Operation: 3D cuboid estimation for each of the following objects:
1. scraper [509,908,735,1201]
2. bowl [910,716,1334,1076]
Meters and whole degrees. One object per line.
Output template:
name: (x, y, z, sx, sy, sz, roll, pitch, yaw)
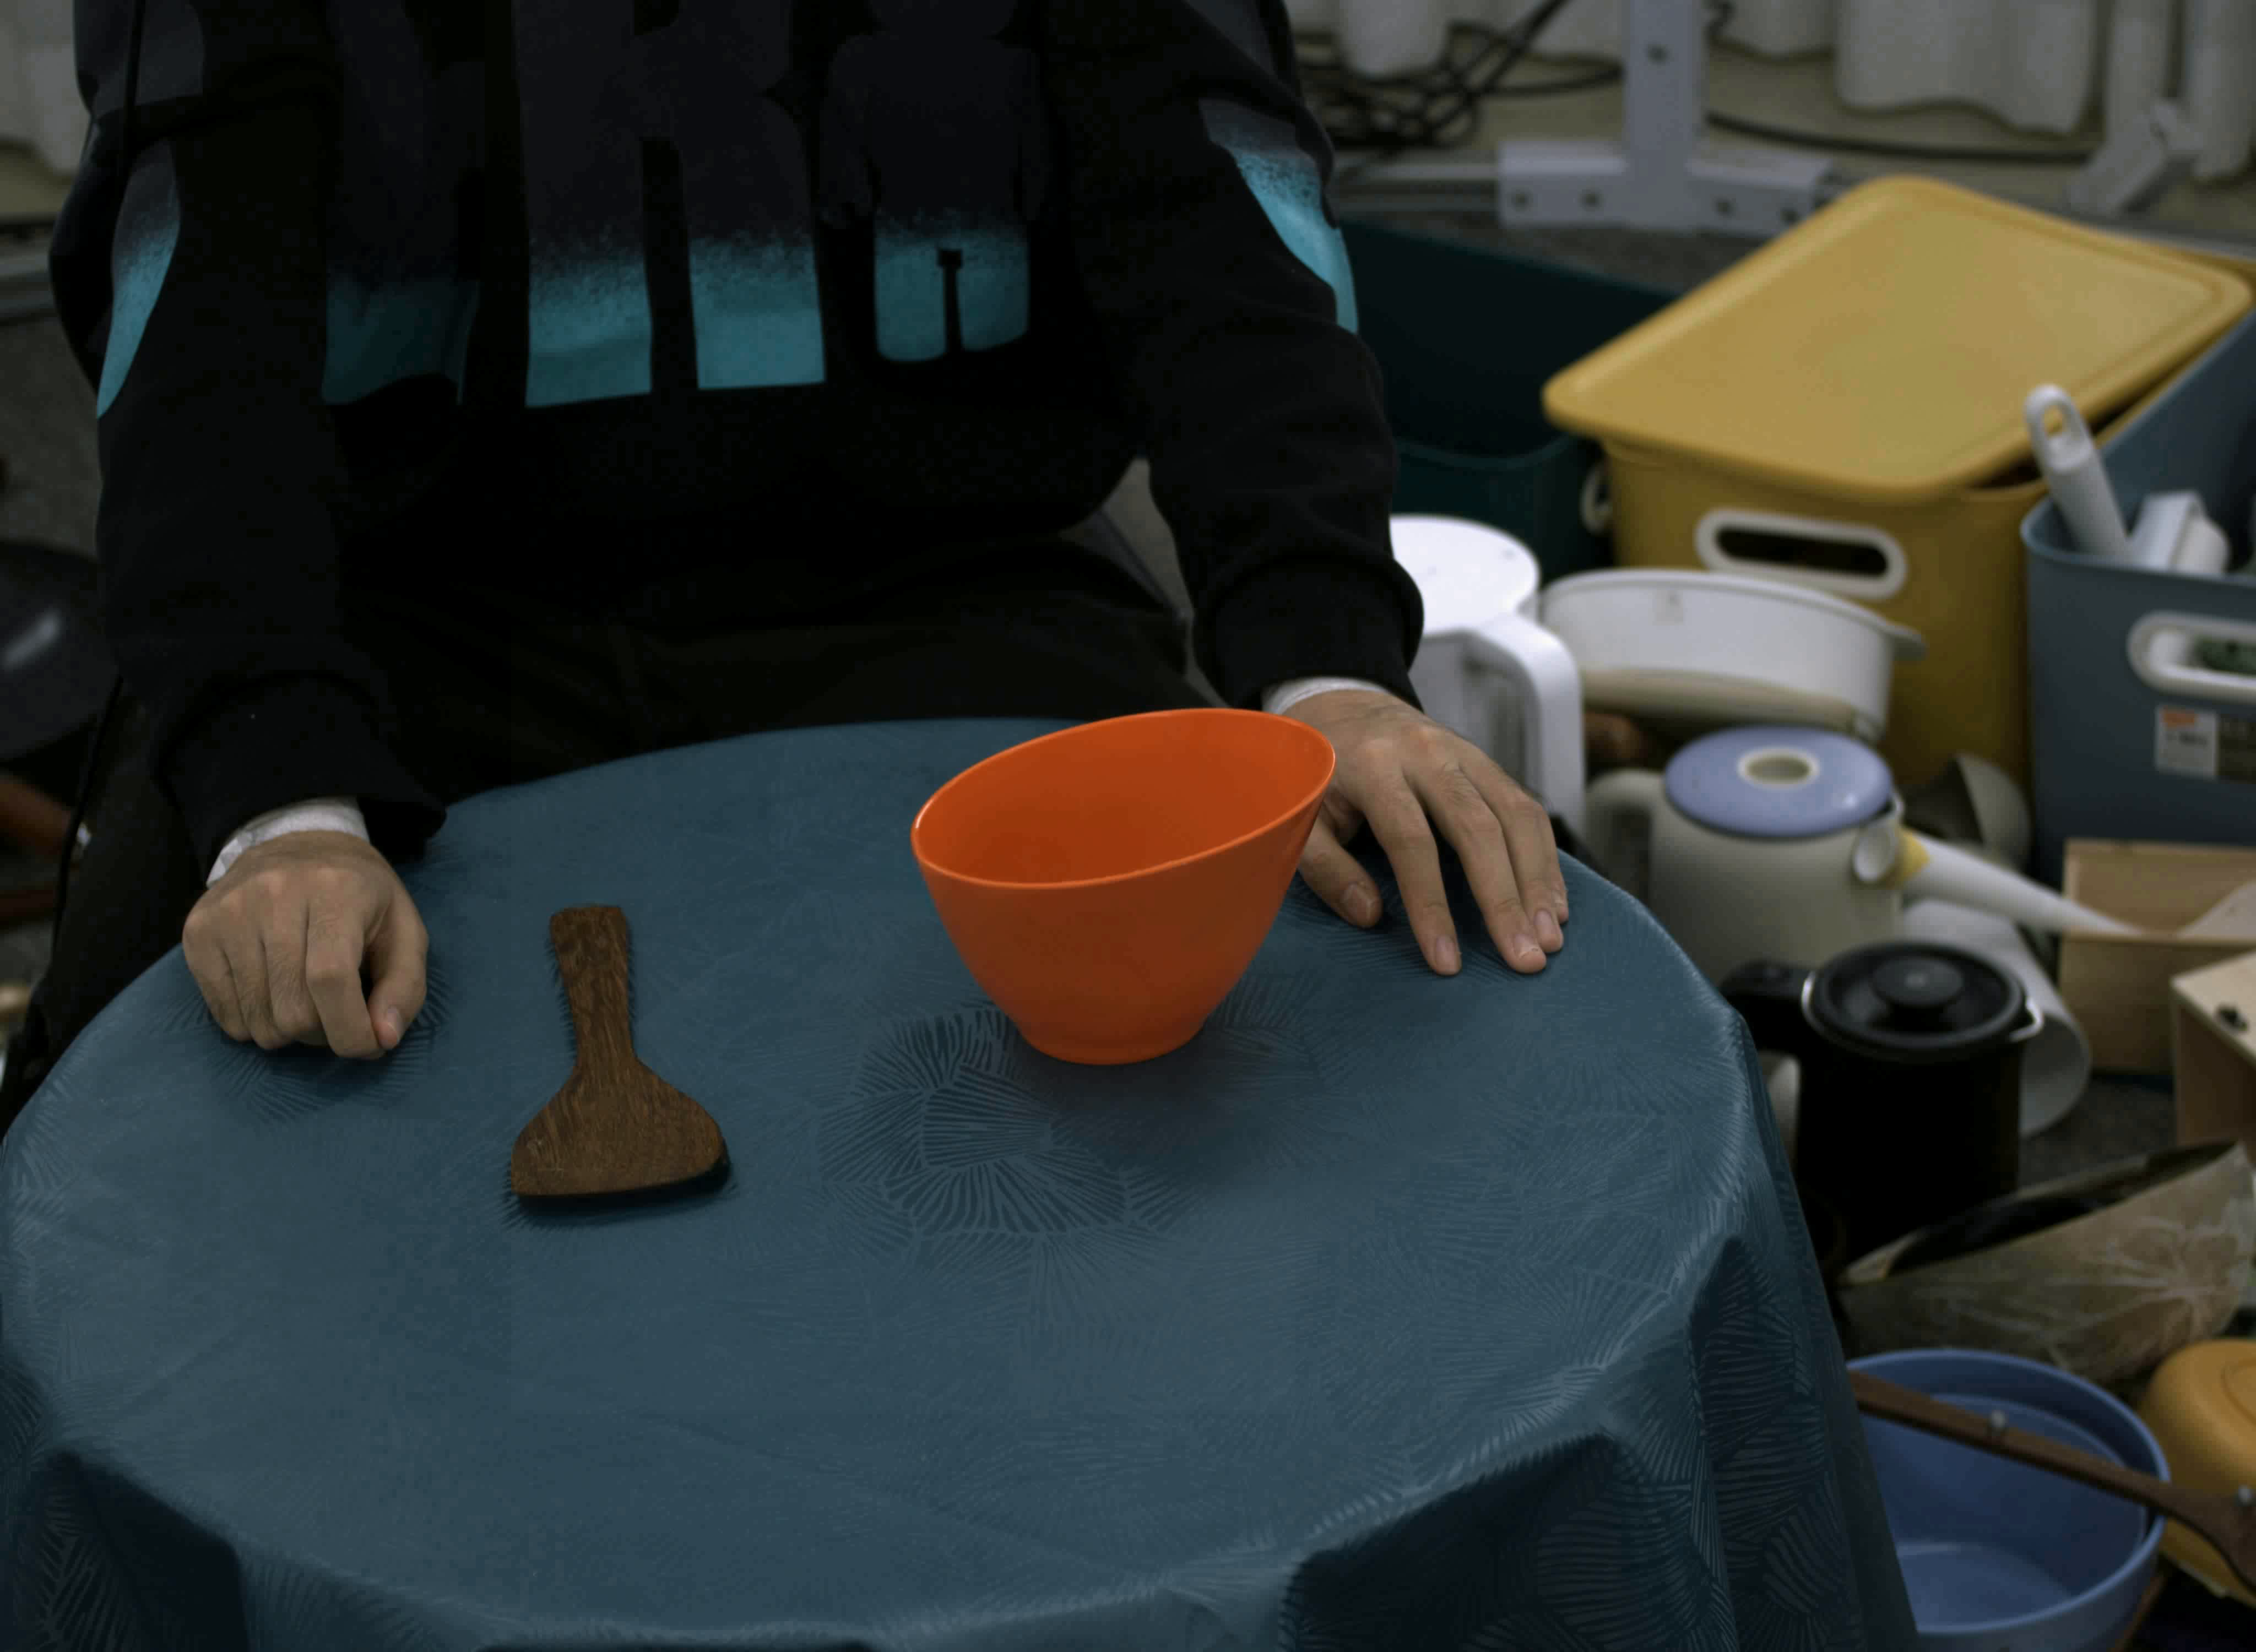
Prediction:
scraper: (-0.181, 0.079, 1.954, 0.075, 0.011, 0.214, -5, 26, -6)
bowl: (0.001, 0.028, 1.937, 0.147, 0.103, 0.150, -4, 26, 2)
